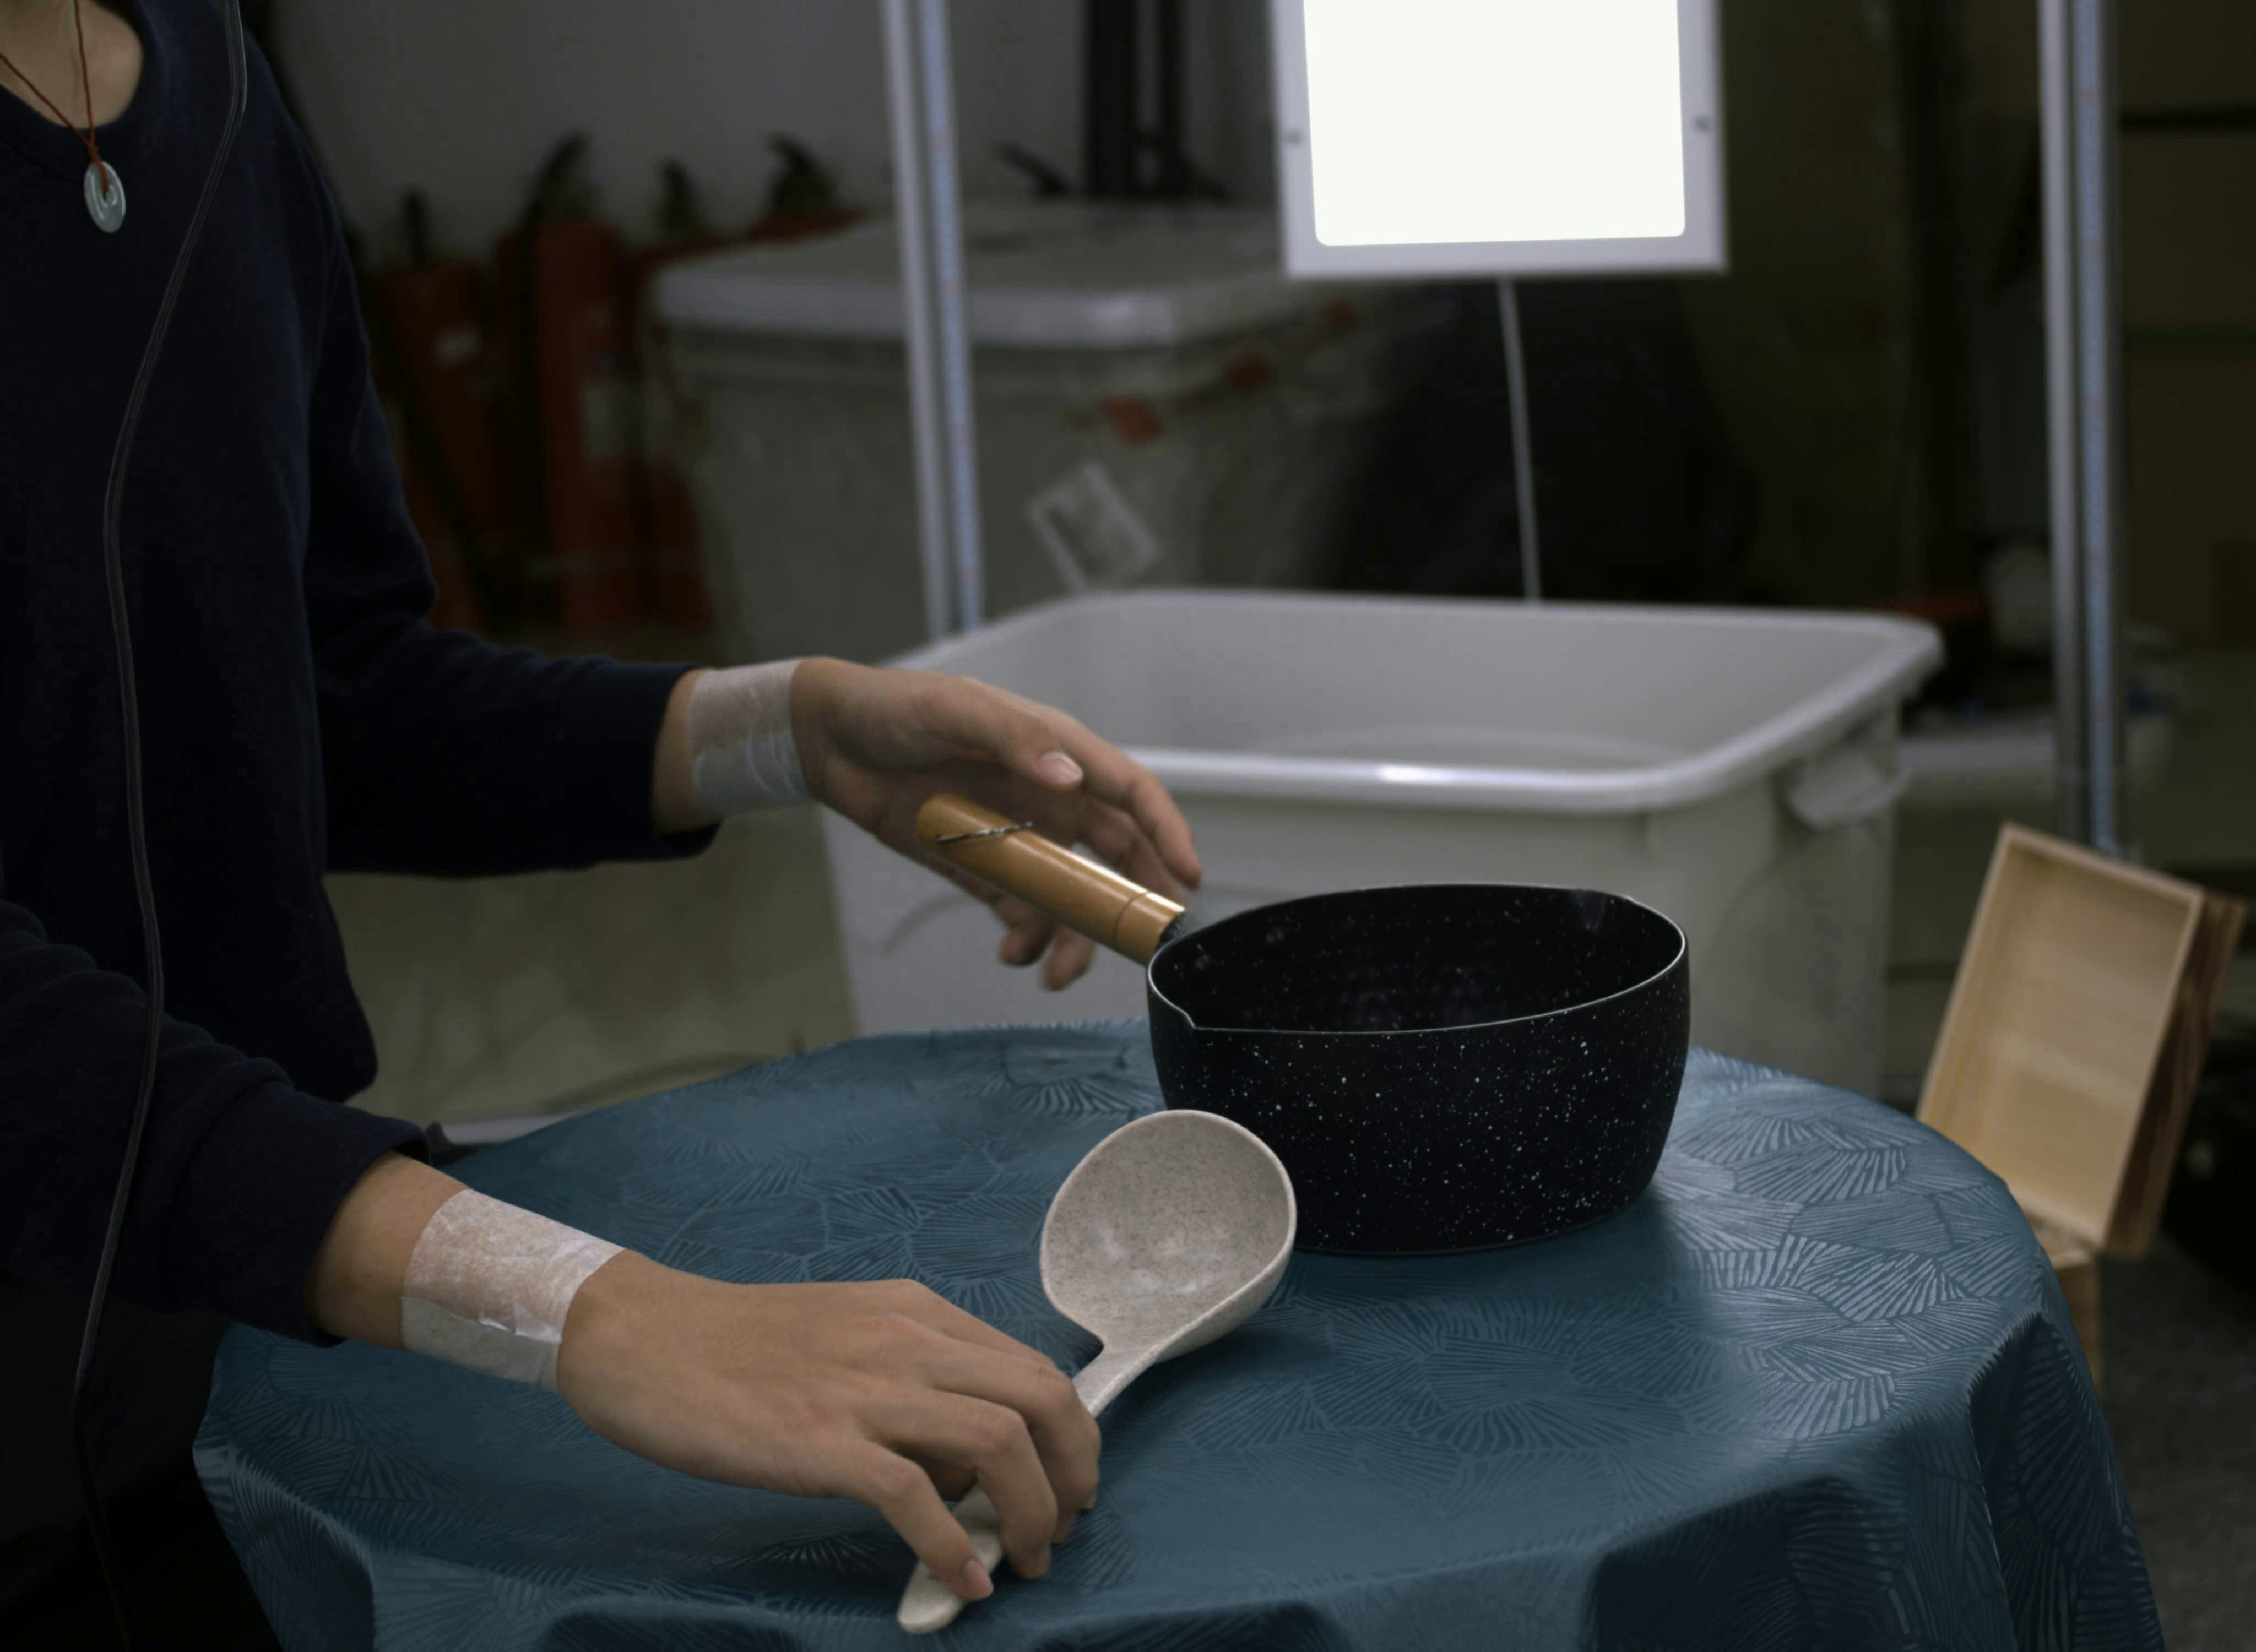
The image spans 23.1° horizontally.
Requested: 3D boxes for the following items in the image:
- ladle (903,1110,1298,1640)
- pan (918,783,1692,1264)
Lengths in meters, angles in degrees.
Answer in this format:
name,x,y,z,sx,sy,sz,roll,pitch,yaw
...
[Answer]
name,x,y,z,sx,sy,sz,roll,pitch,yaw
ladle,-0.021,0.157,1.638,0.090,0.069,0.270,-8,12,21
pan,0.045,0.062,1.917,0.202,0.108,0.350,-18,20,-39
